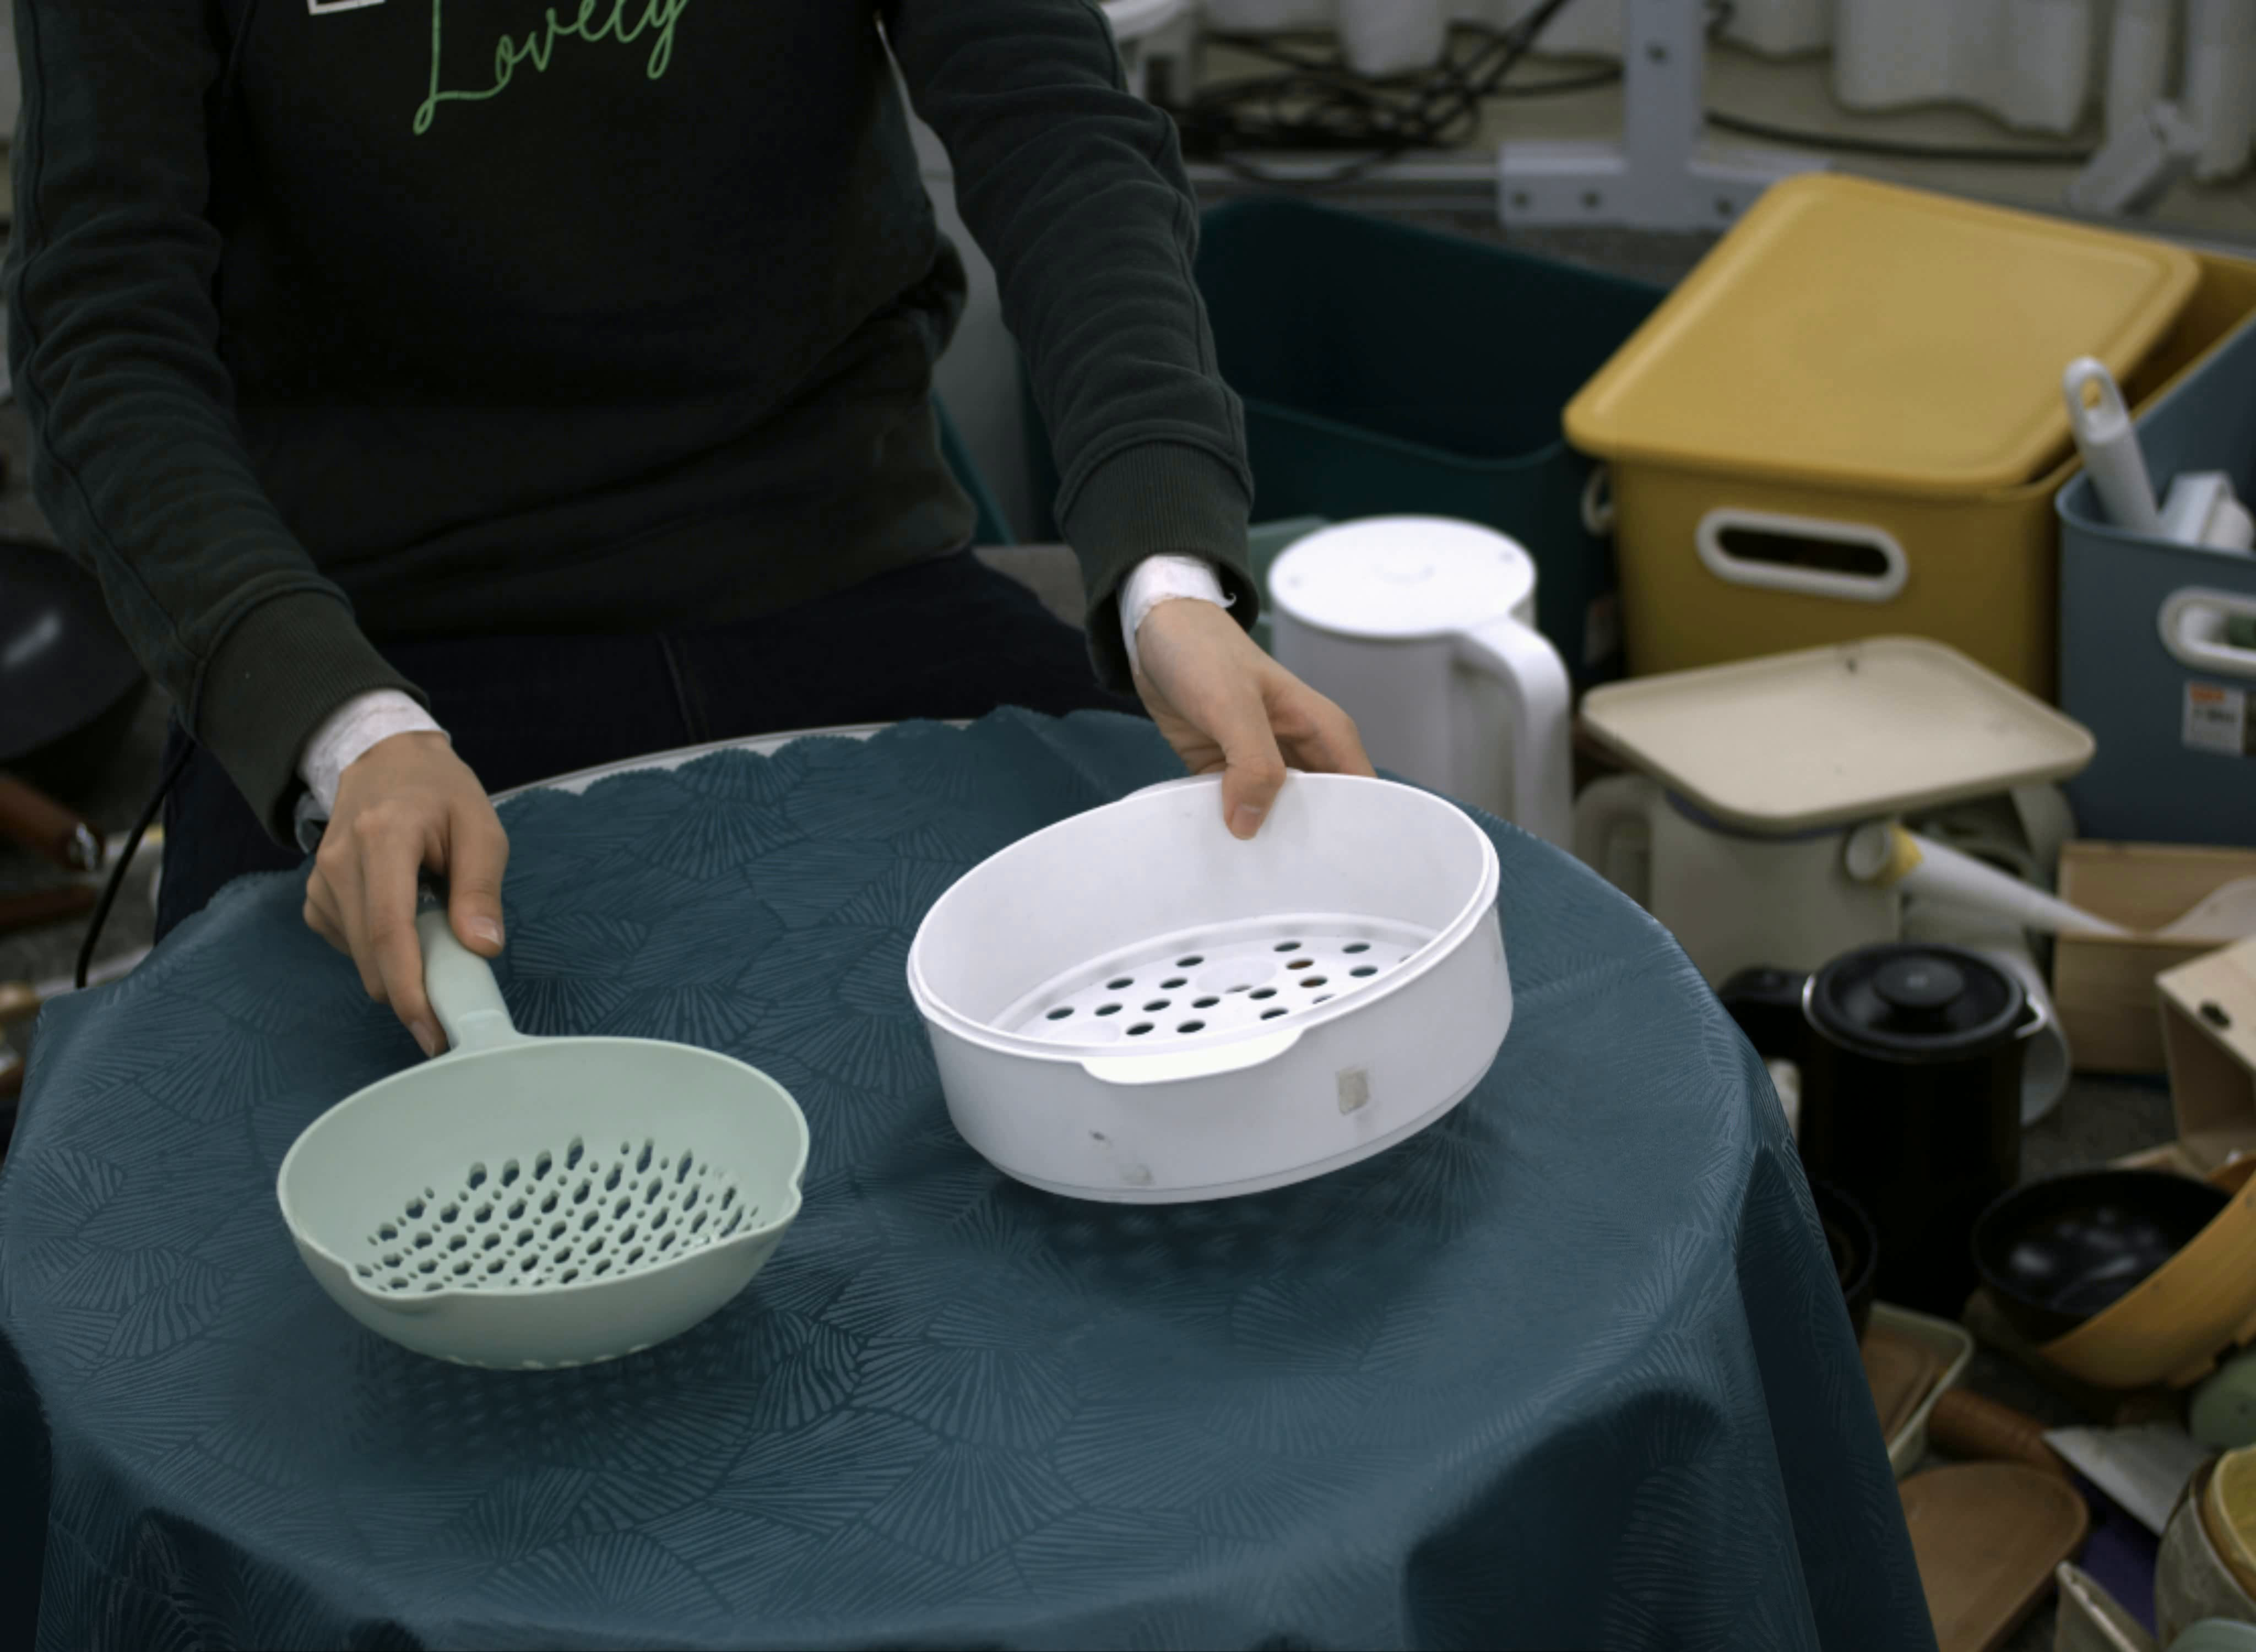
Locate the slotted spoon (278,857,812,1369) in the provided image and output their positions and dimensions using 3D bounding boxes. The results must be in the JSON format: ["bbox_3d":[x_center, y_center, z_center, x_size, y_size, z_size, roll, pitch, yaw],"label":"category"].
[{"bbox_3d":[-0.211,0.079,1.864,0.169,0.074,0.363,-9,32,-14],"label":"slotted spoon"}]

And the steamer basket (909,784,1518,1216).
[{"bbox_3d":[0.031,0.059,1.871,0.201,0.068,0.234,-8,23,5],"label":"steamer basket"}]
